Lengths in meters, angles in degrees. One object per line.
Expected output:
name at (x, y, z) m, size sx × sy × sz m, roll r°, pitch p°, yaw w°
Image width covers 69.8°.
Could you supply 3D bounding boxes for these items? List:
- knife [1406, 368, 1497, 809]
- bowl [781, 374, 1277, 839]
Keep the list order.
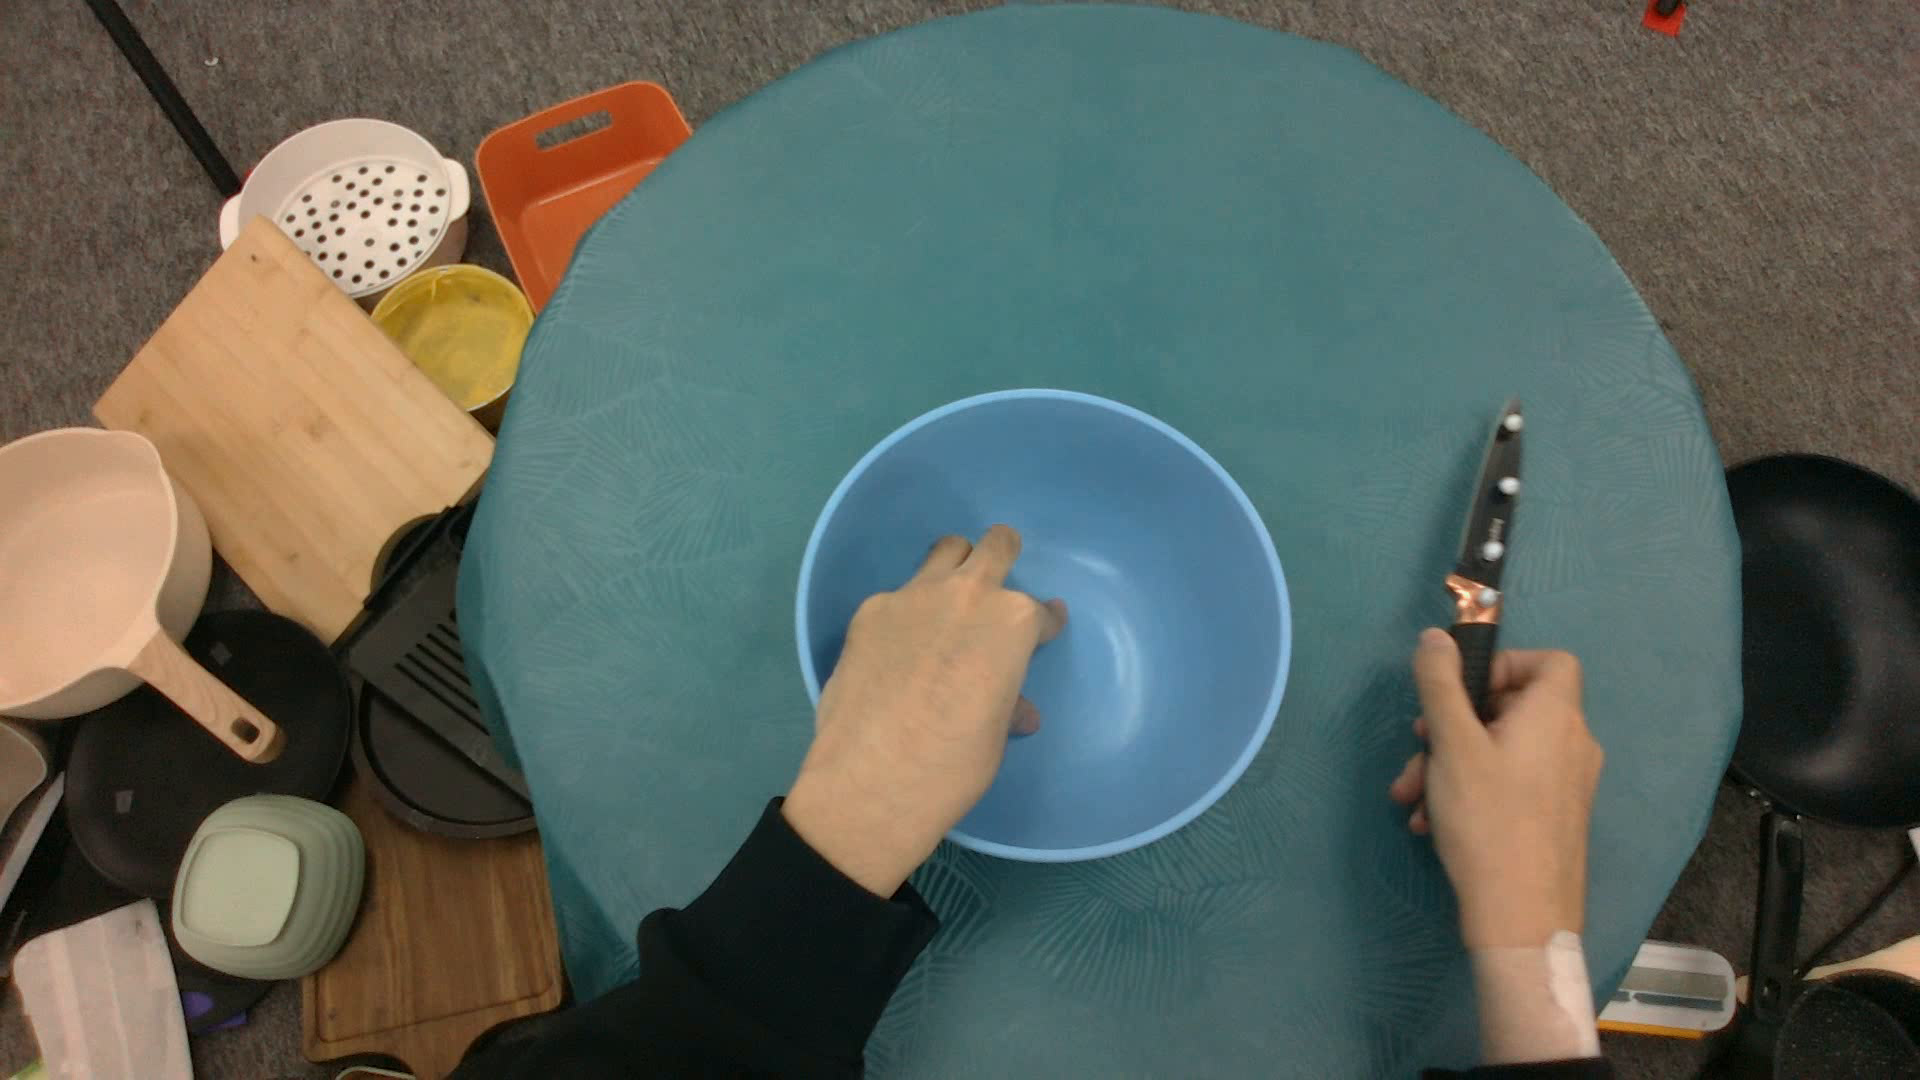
knife at (0.228, 0.014, 0.623) m, size 0.026 × 0.017 × 0.226 m, roll 15°, pitch 64°, yaw 9°
bowl at (0.027, 0.037, 0.585) m, size 0.196 × 0.095 × 0.197 m, roll 1°, pitch 66°, yaw -2°
